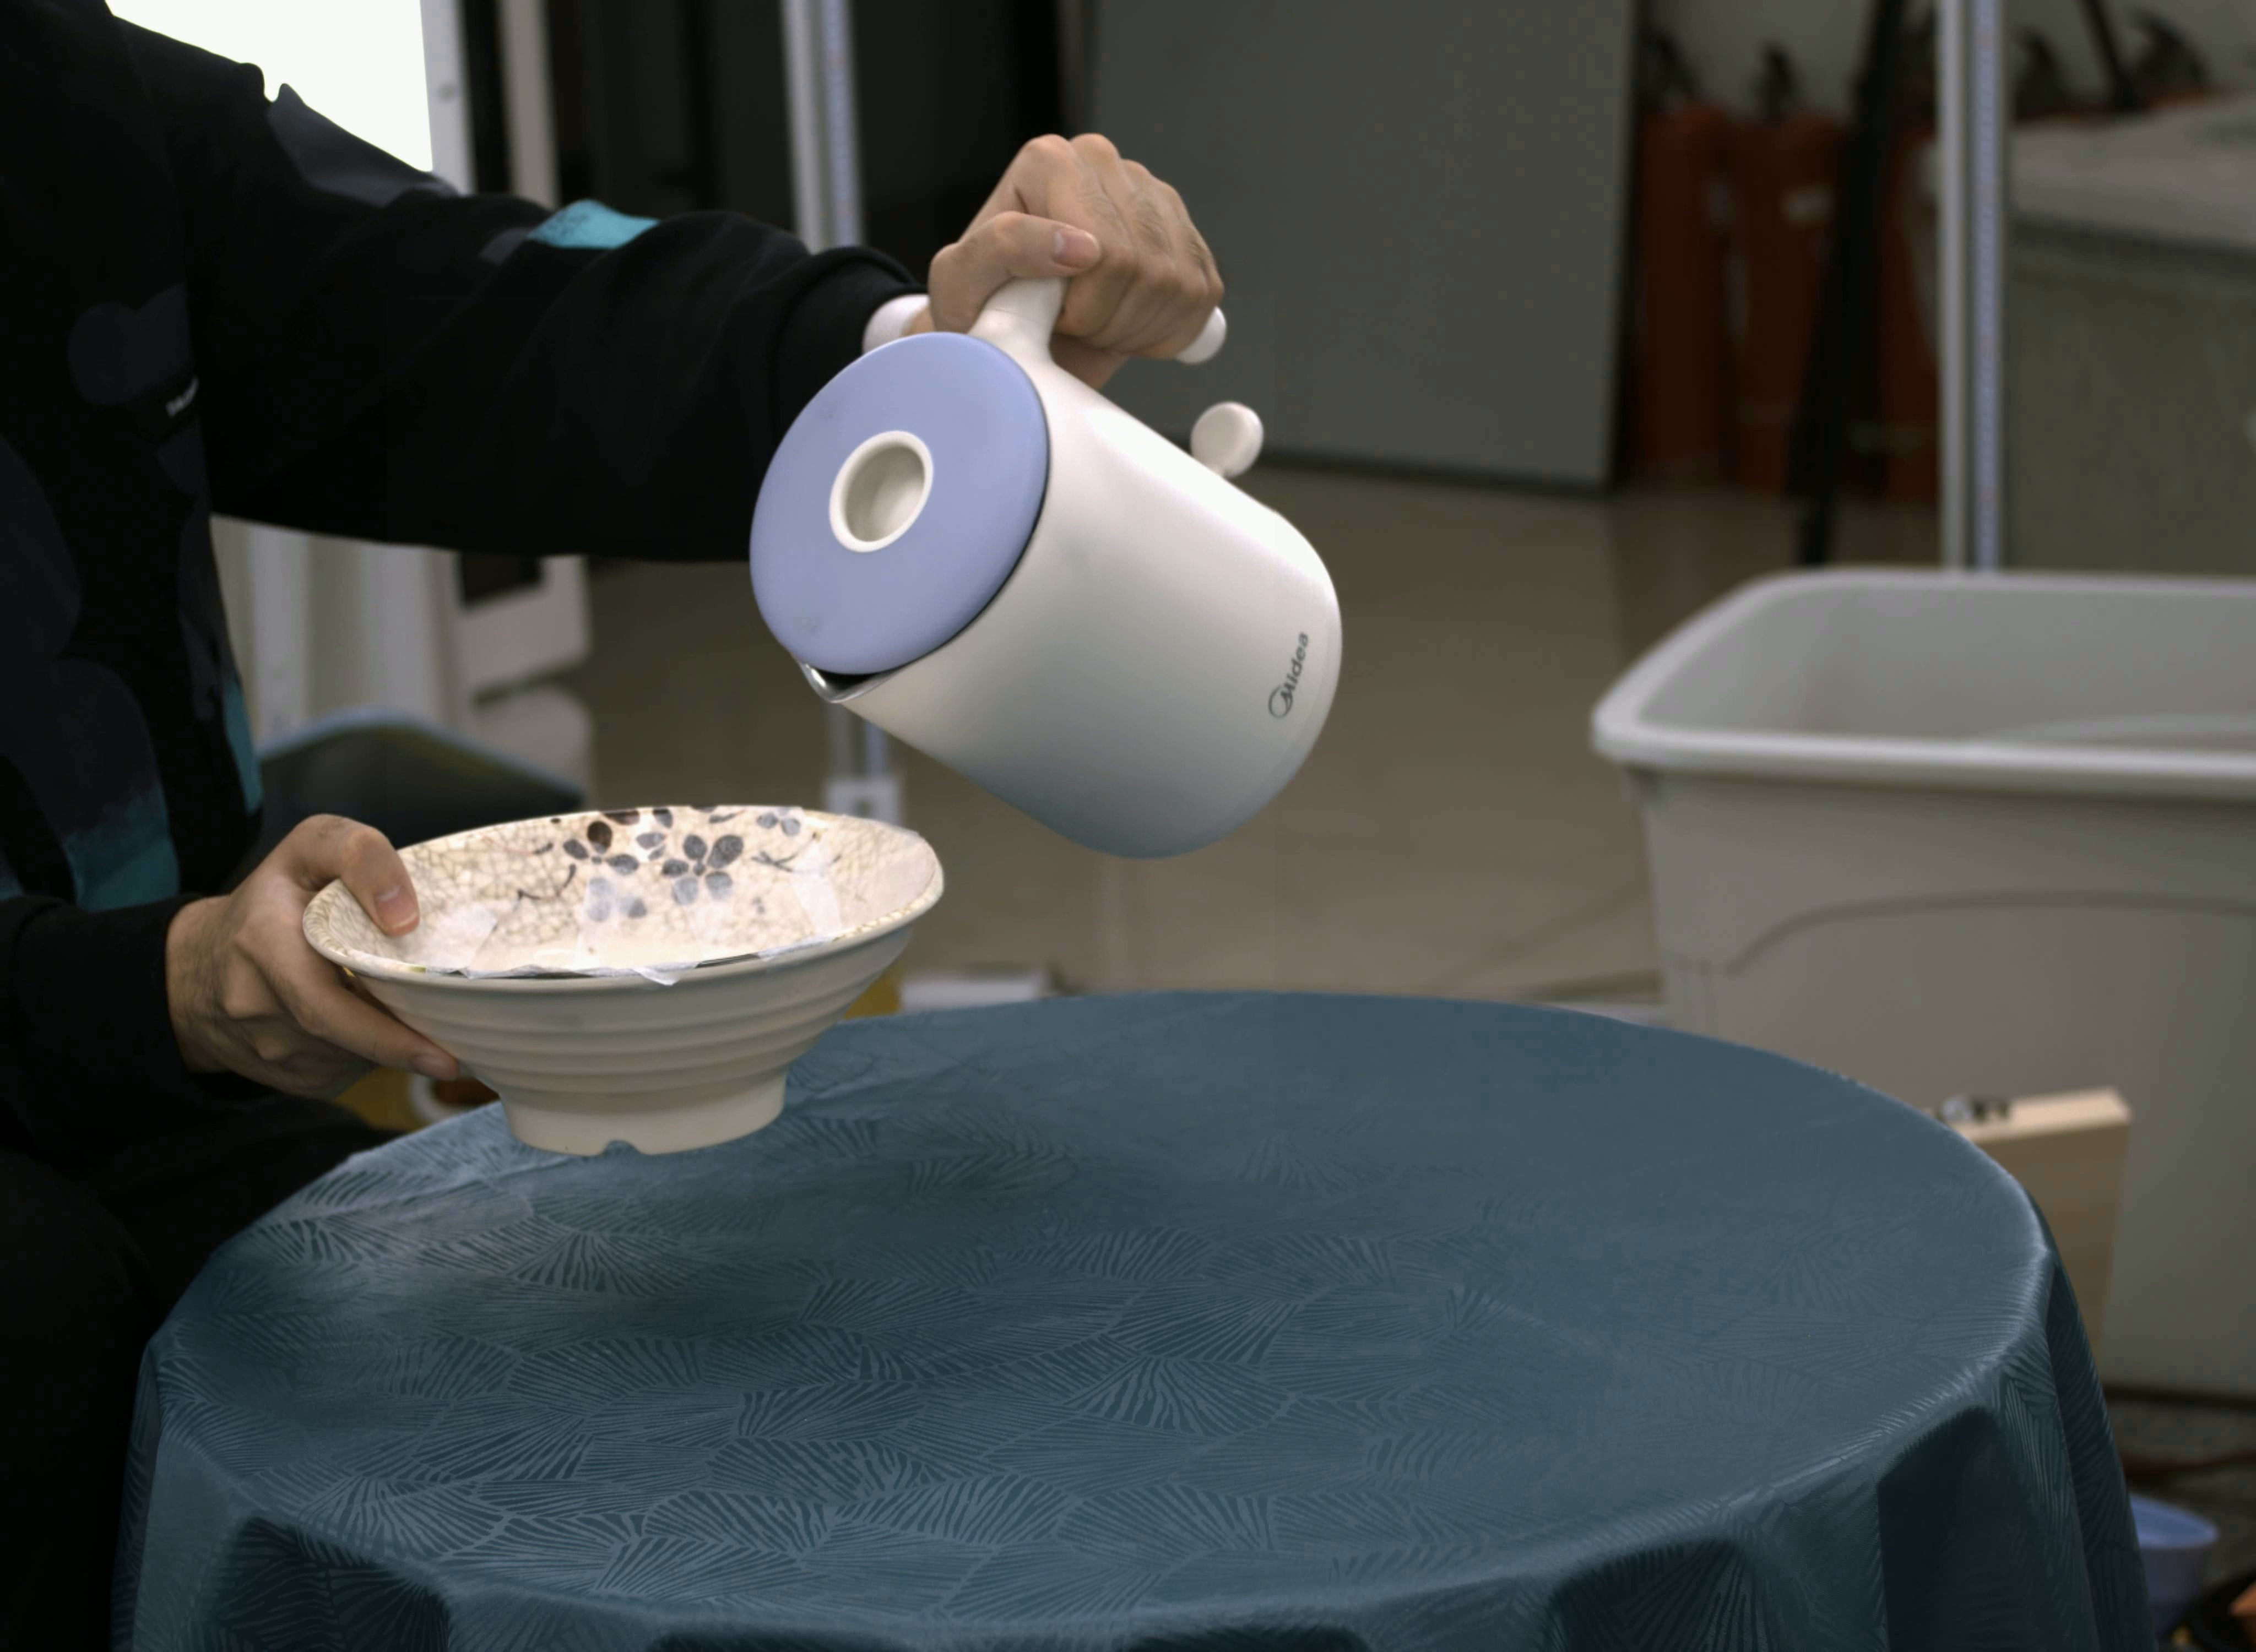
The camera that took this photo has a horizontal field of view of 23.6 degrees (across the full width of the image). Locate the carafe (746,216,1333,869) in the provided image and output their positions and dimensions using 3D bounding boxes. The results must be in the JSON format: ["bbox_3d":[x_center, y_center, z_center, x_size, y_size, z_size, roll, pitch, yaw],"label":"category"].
[{"bbox_3d":[-0.020,-0.099,1.776,0.133,0.192,0.179,6,-20,40],"label":"carafe"}]

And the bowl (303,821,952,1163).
[{"bbox_3d":[-0.152,0.056,1.686,0.201,0.079,0.204,-5,11,0],"label":"bowl"}]
